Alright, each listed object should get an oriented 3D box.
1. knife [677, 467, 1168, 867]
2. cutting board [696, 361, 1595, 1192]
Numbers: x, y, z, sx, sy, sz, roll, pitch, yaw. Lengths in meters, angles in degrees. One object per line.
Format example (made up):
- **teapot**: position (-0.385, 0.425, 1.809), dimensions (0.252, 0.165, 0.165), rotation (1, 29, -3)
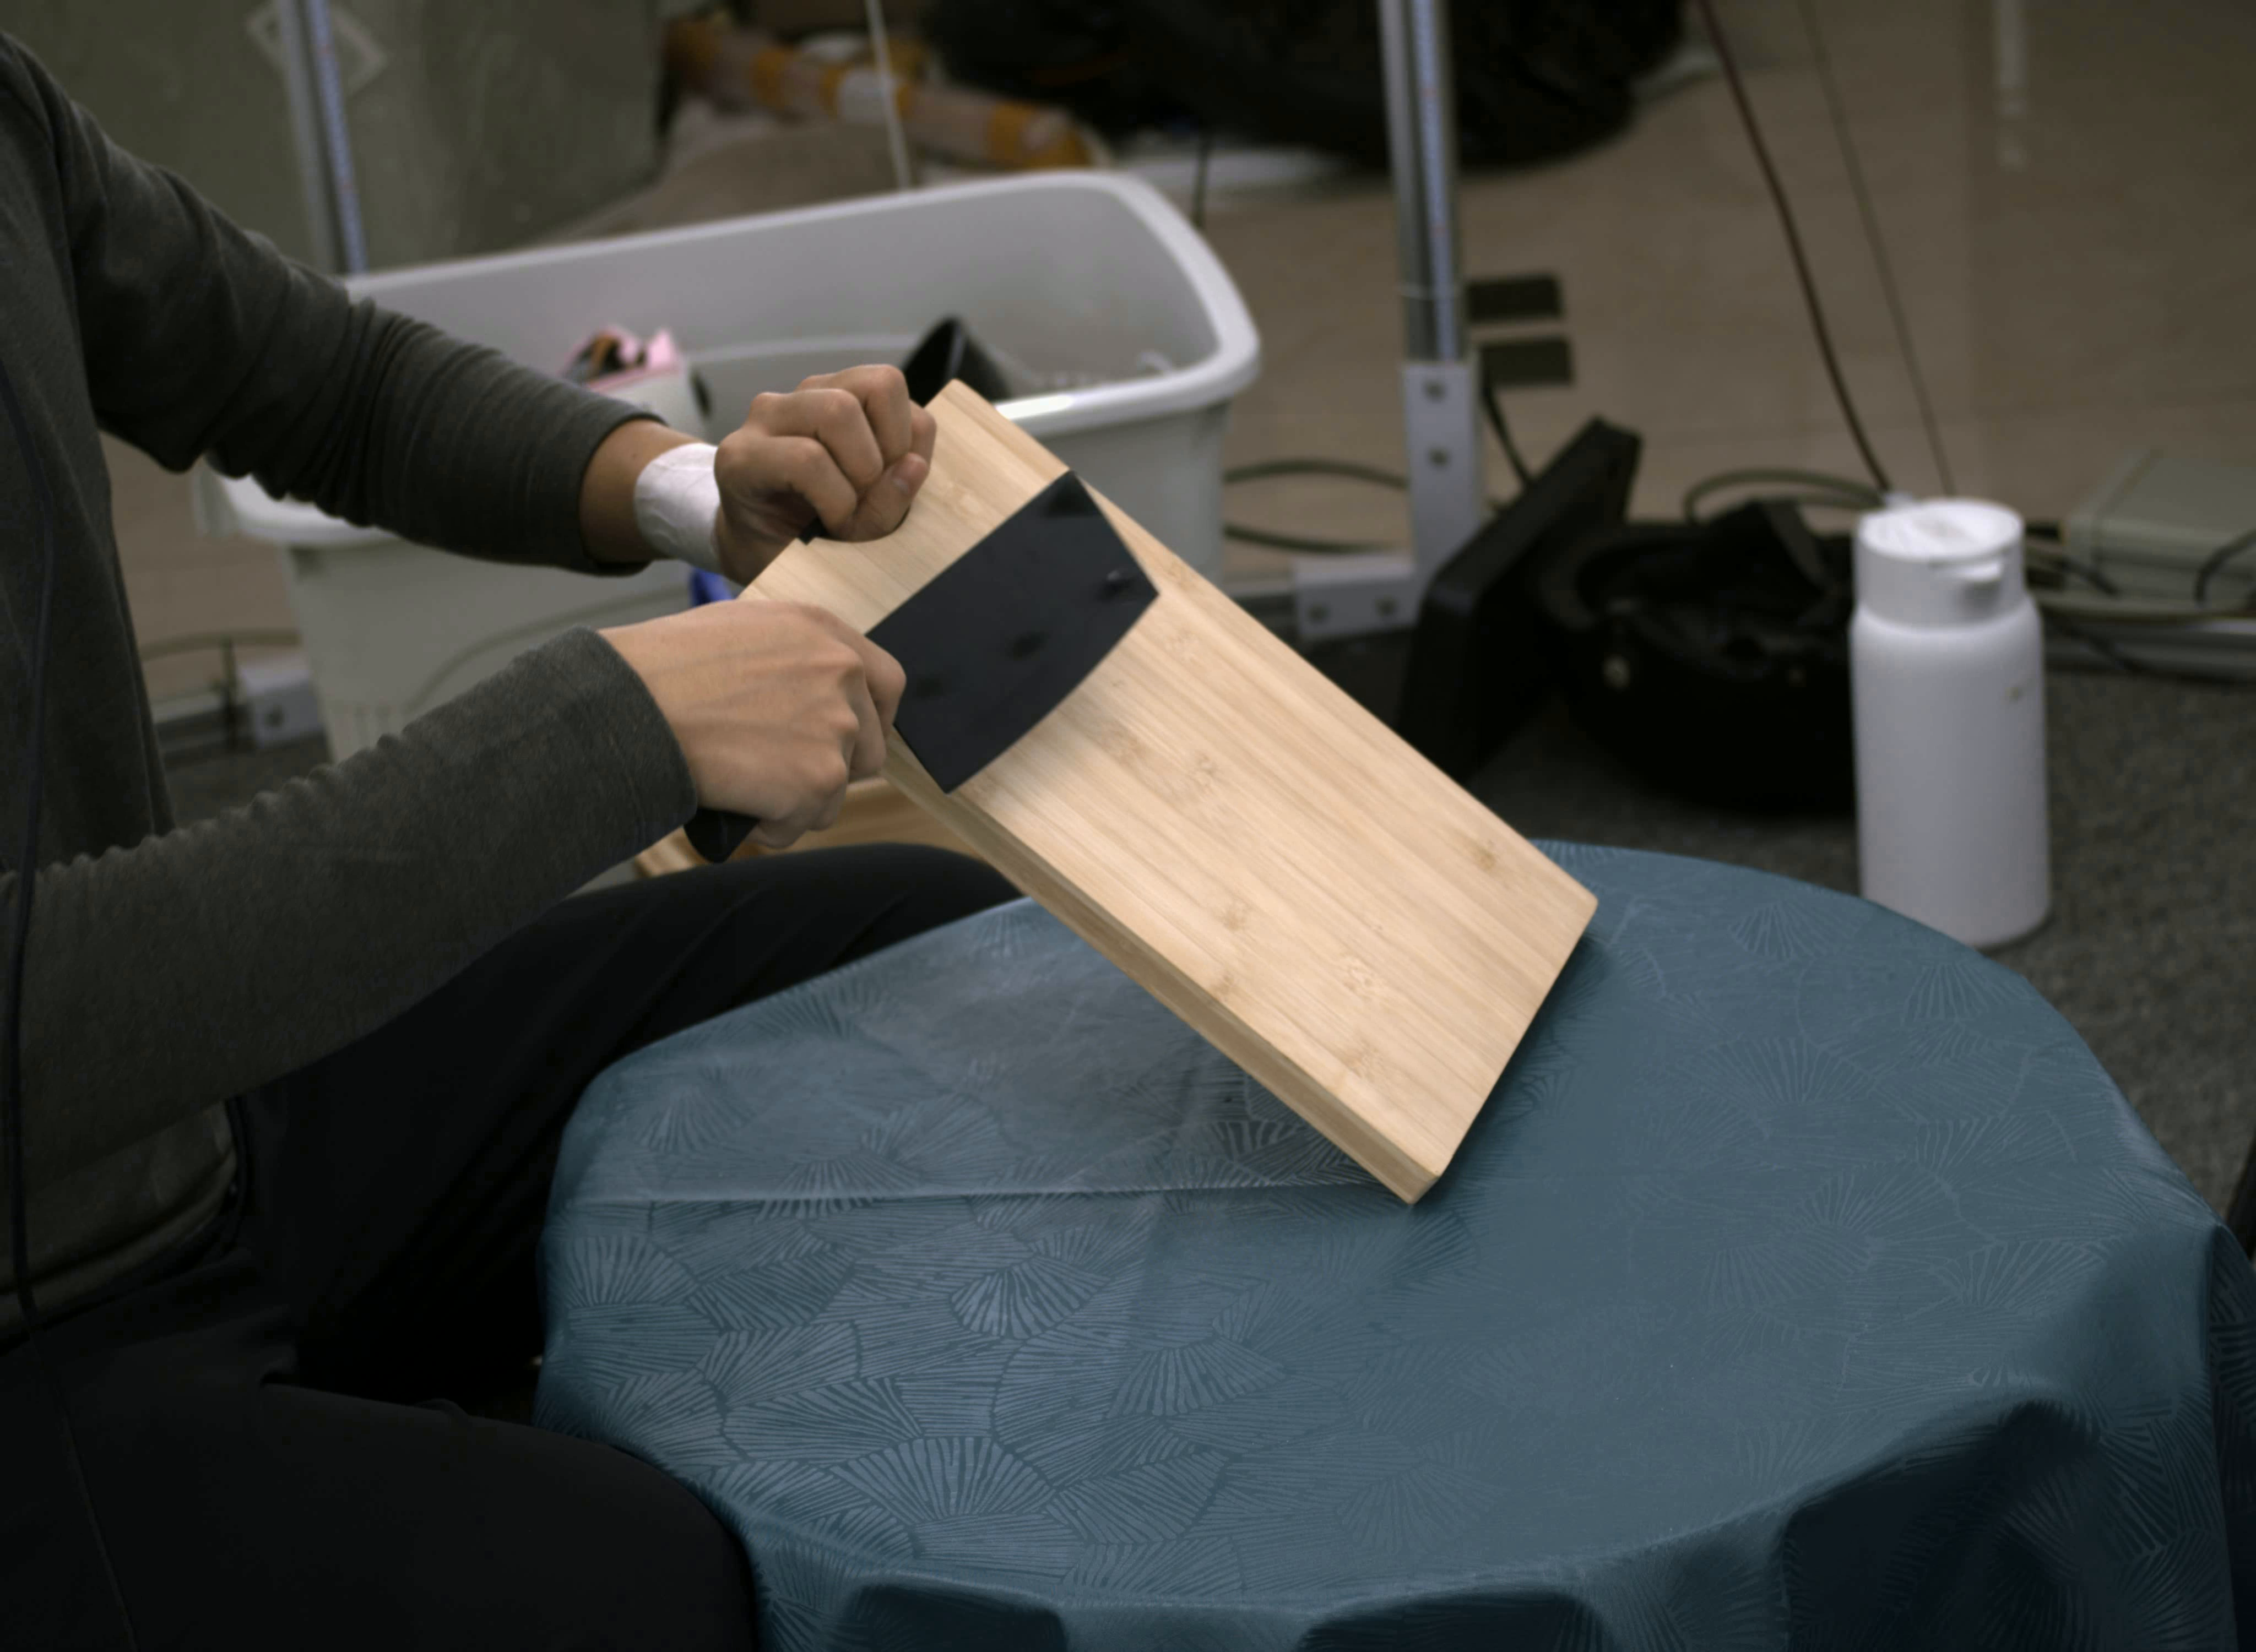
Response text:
- **knife**: position (-0.072, -0.053, 2.065), dimensions (0.021, 0.081, 0.299), rotation (-31, 3, 39)
- **cutting board**: position (0.014, -0.024, 2.206), dimensions (0.349, 0.024, 0.247), rotation (39, 32, -3)
